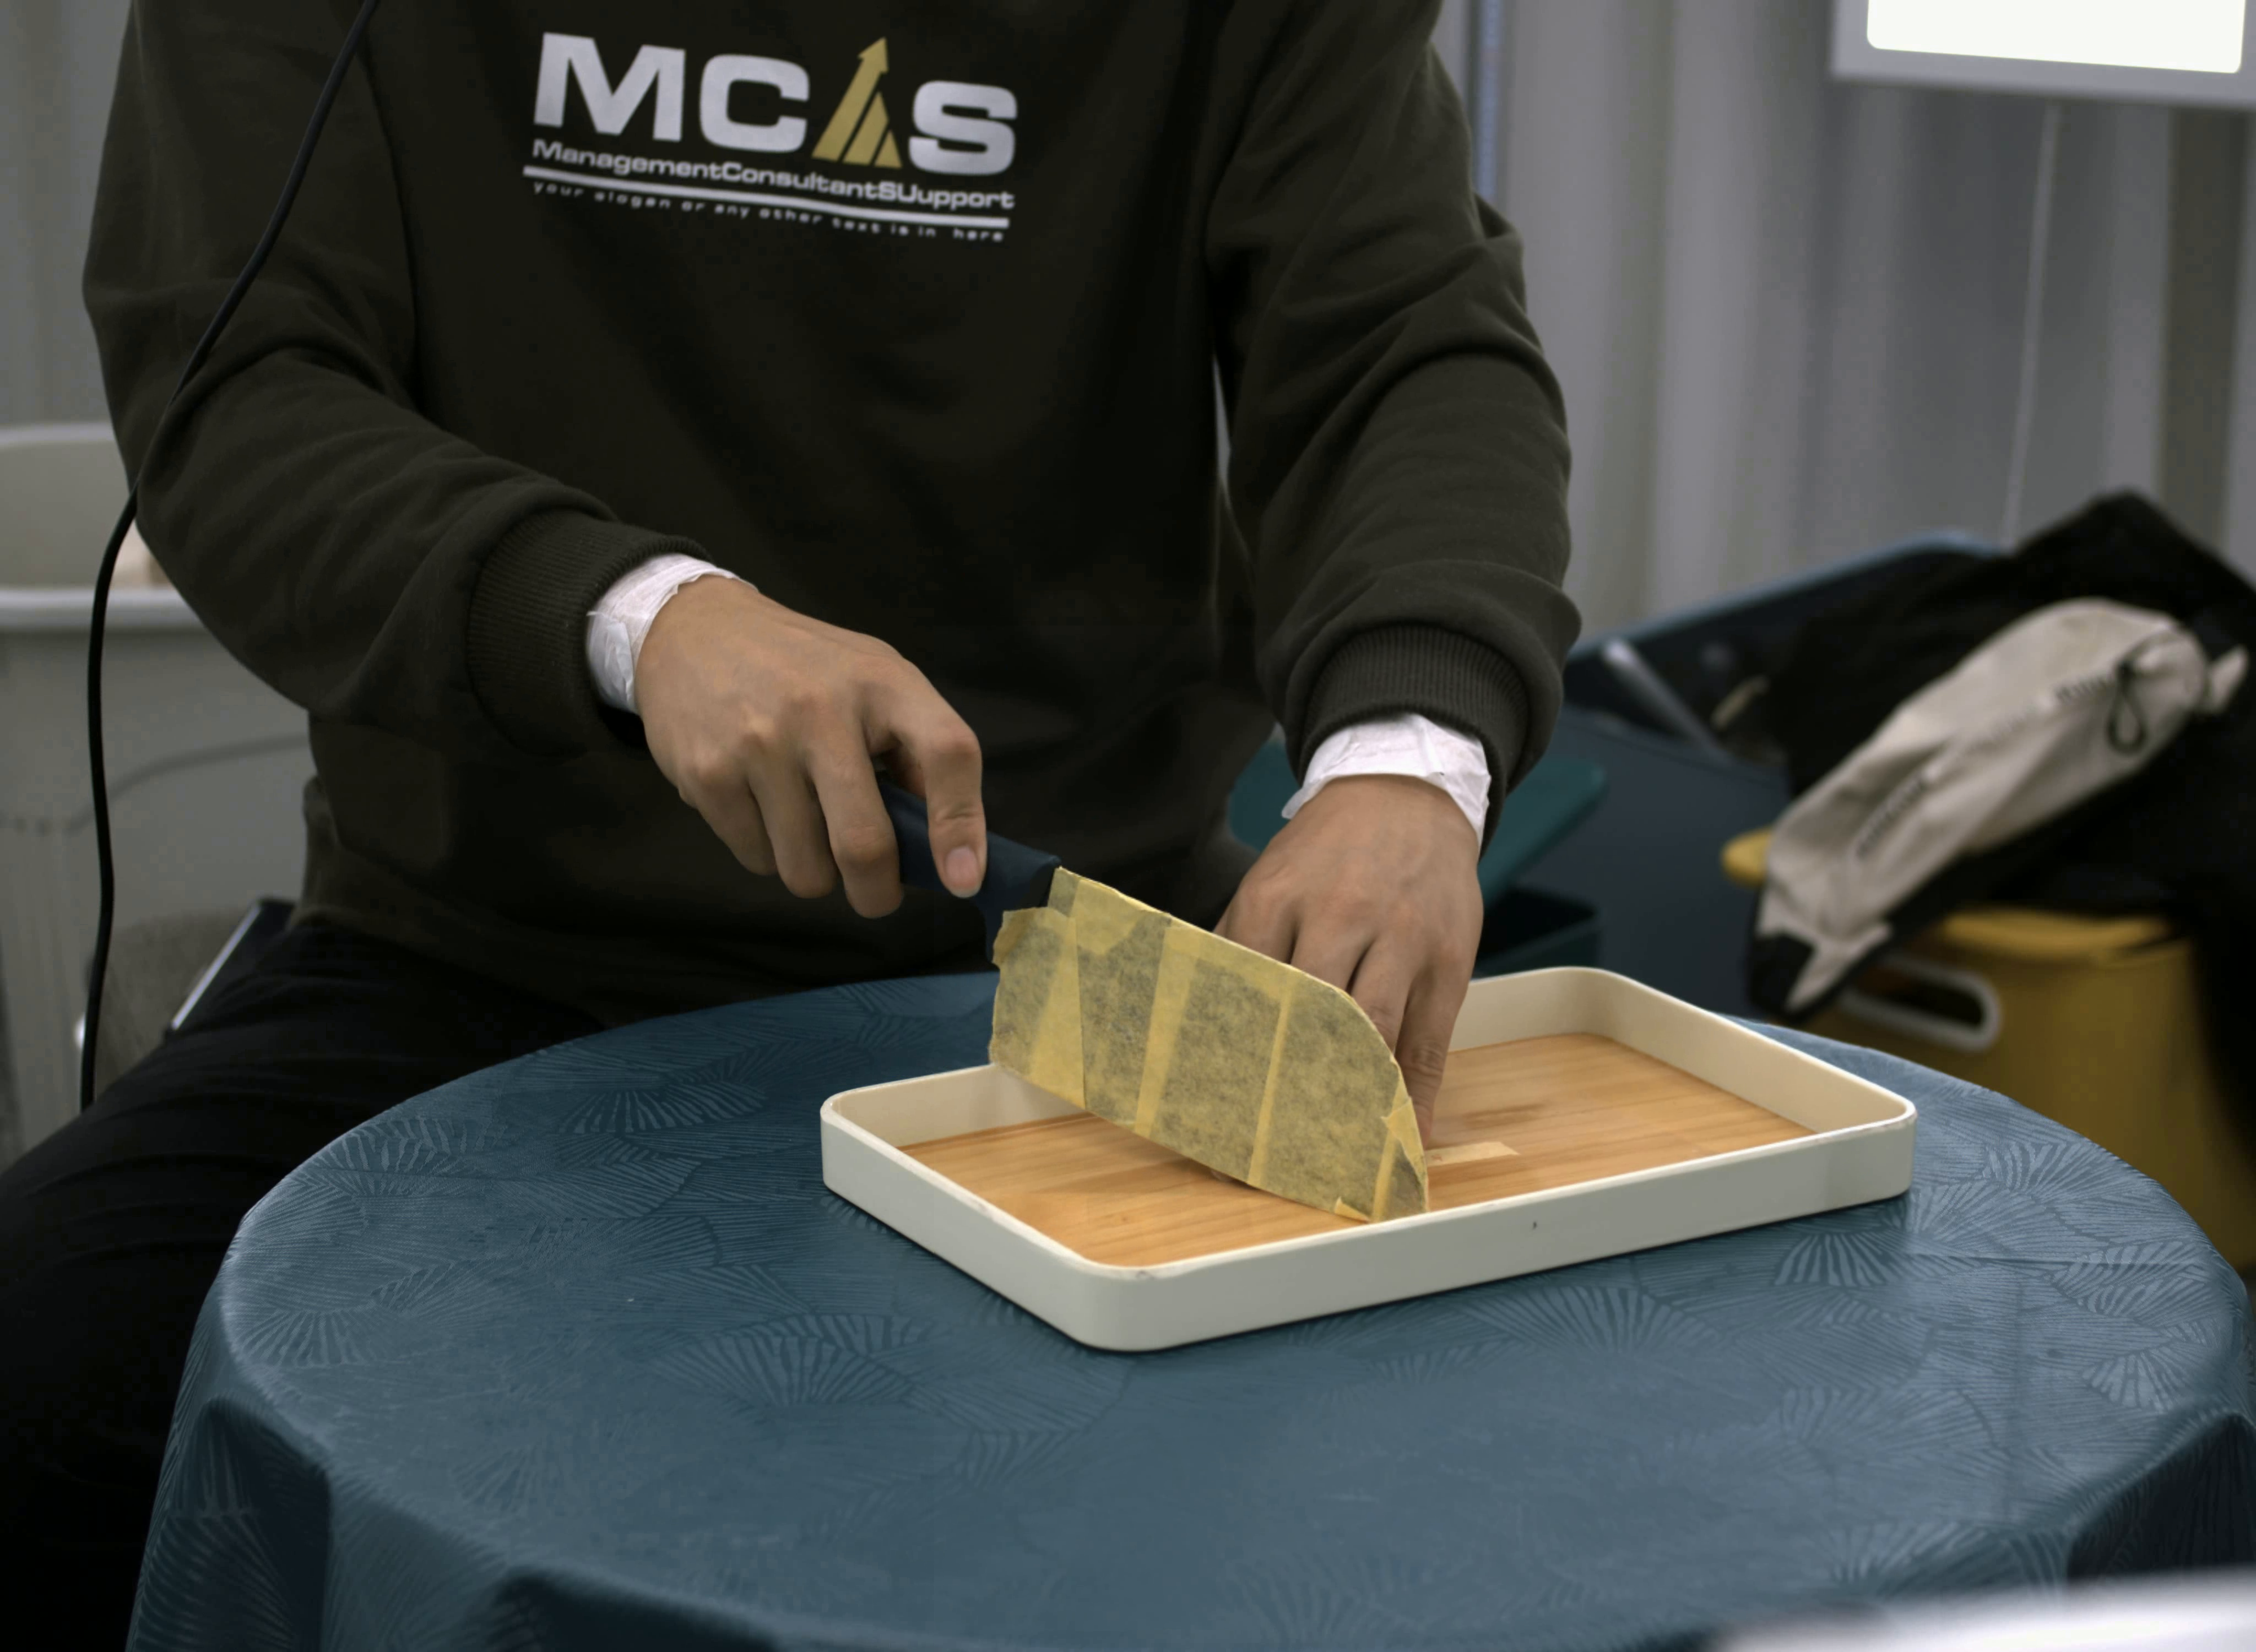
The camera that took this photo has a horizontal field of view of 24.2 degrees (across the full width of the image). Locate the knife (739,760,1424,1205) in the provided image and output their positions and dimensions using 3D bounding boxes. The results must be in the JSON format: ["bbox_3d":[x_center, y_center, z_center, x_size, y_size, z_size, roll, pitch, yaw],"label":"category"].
[{"bbox_3d":[-0.018,0.047,1.638,0.285,0.081,0.027,27,23,33],"label":"knife"}]

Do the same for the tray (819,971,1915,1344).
[{"bbox_3d":[0.074,0.098,1.629,0.301,0.027,0.189,-8,17,-30],"label":"tray"}]
